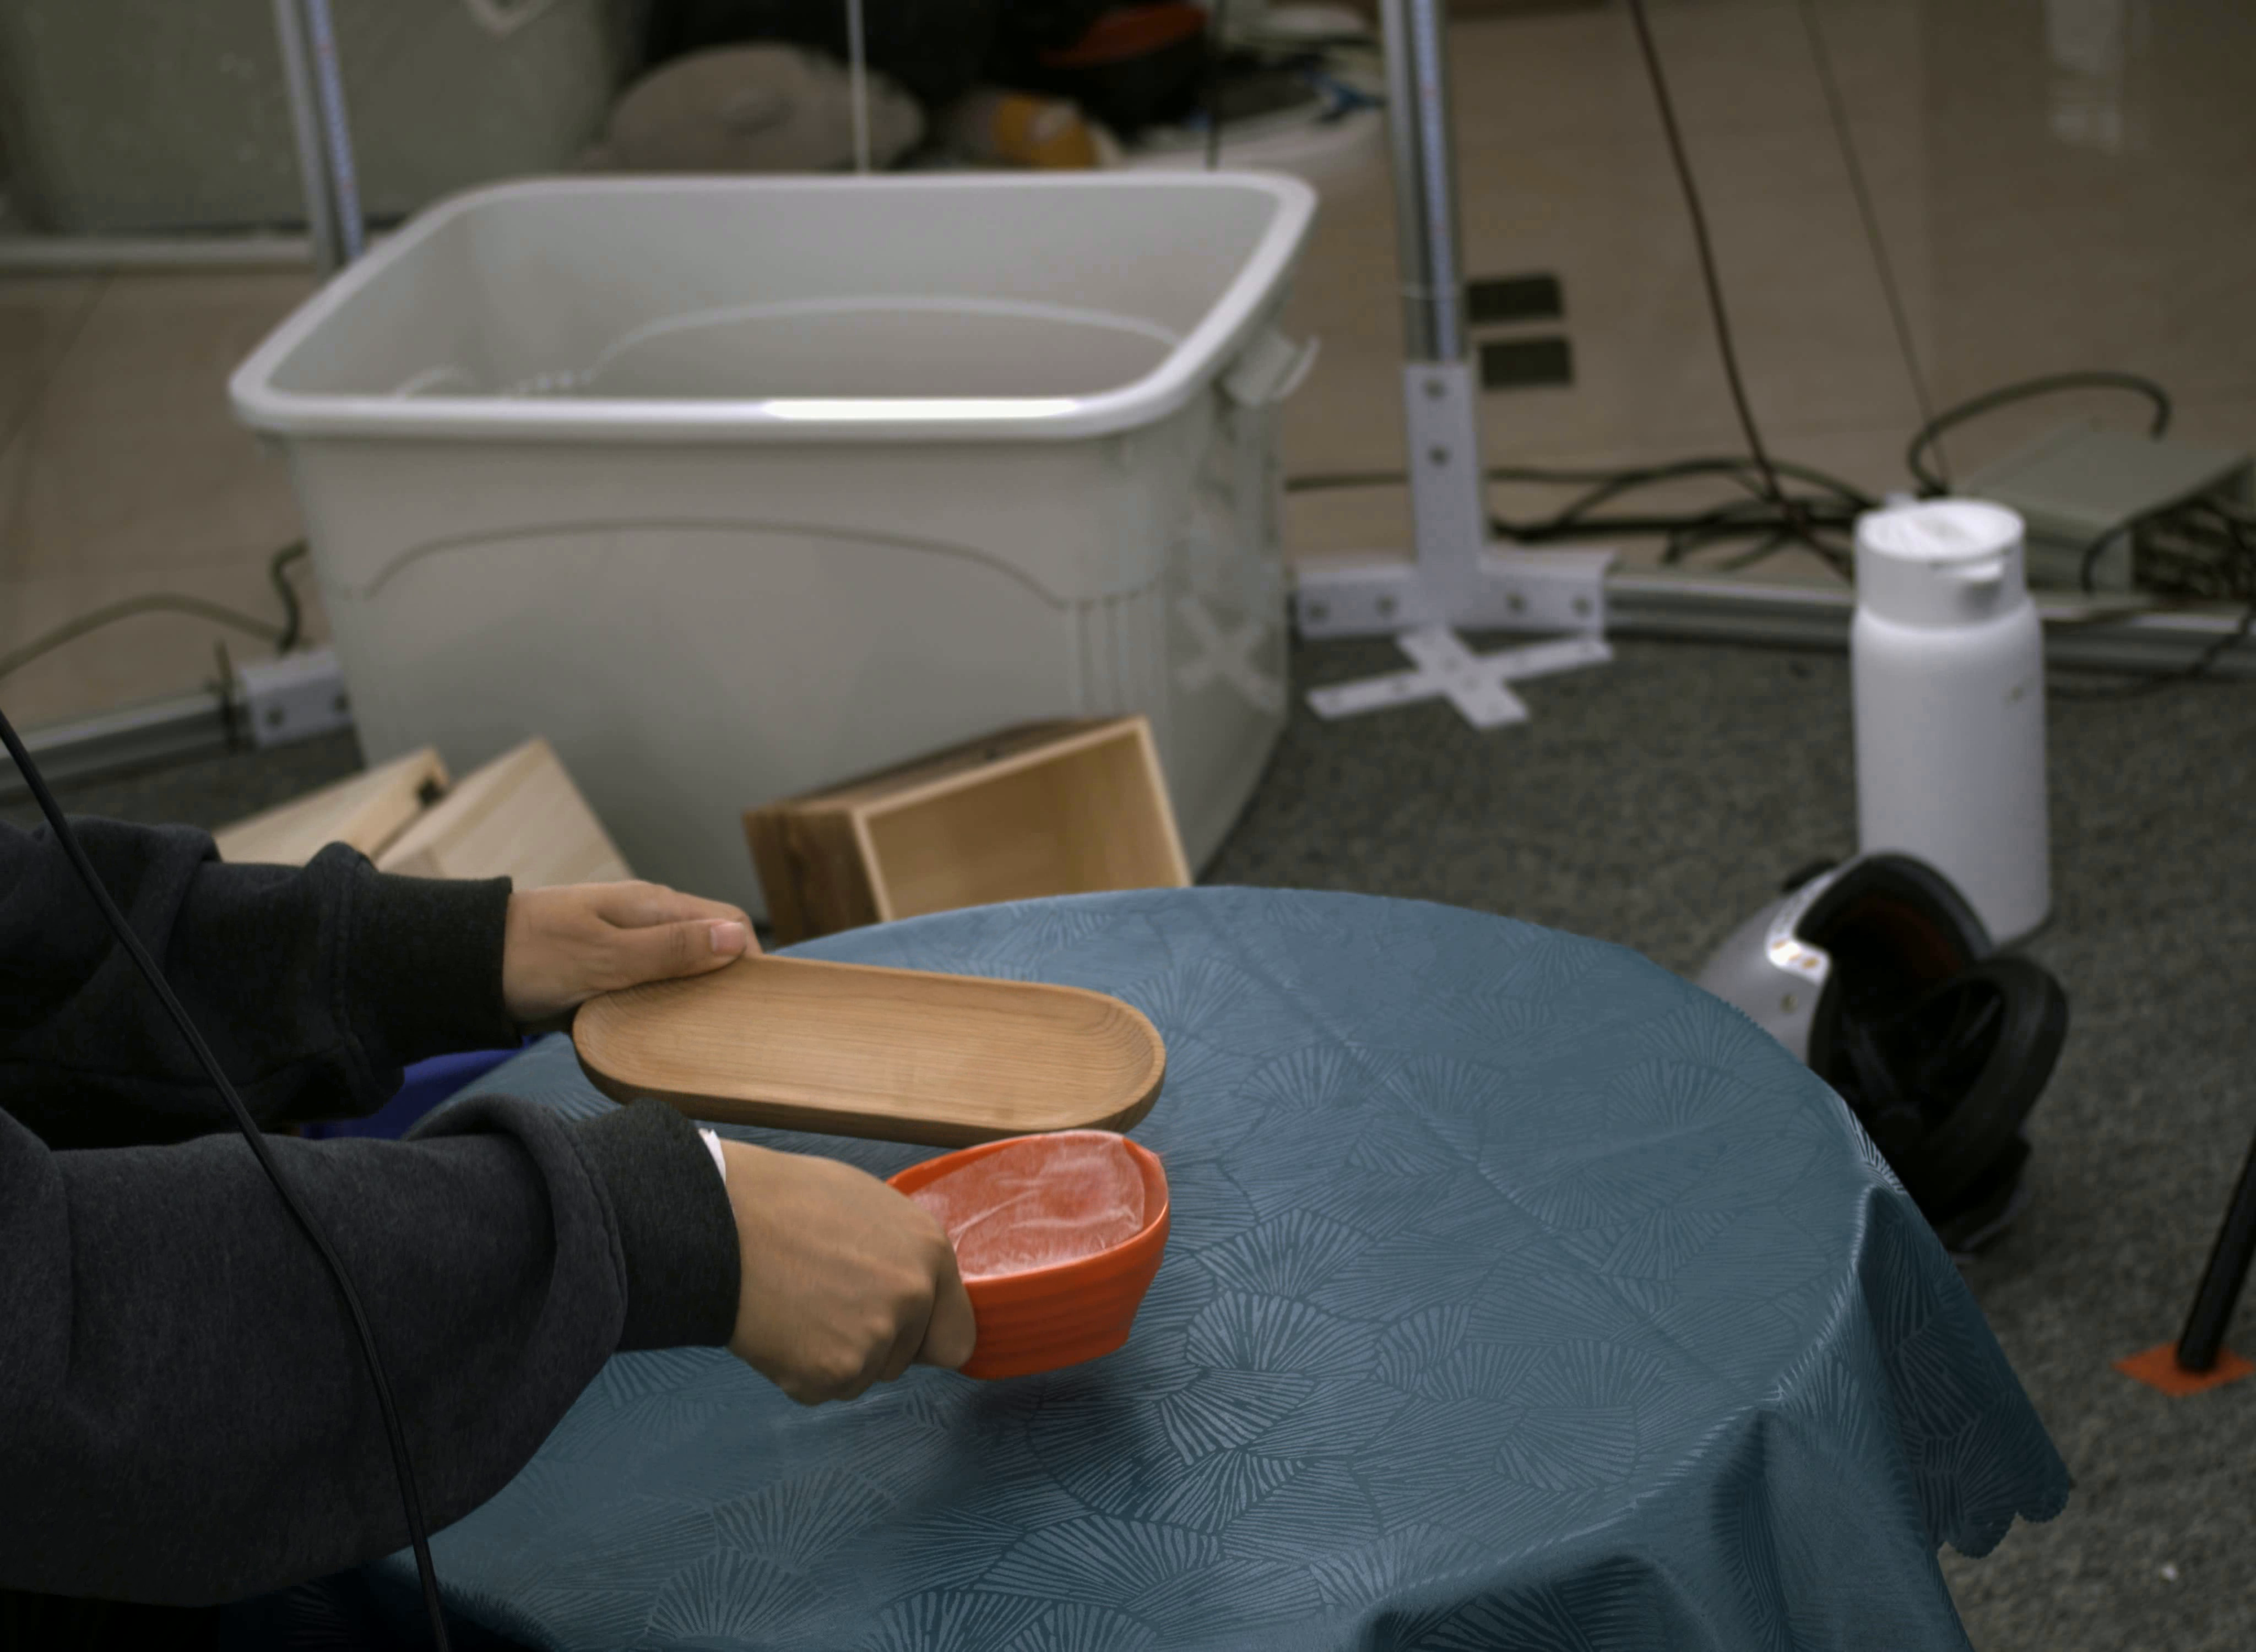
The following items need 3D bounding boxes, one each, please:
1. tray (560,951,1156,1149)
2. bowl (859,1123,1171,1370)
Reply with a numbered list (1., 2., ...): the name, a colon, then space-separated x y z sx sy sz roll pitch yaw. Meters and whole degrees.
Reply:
1. tray: -0.103 0.087 2.158 0.230 0.021 0.100 4 31 11
2. bowl: -0.037 0.153 2.009 0.119 0.052 0.117 -7 23 3
